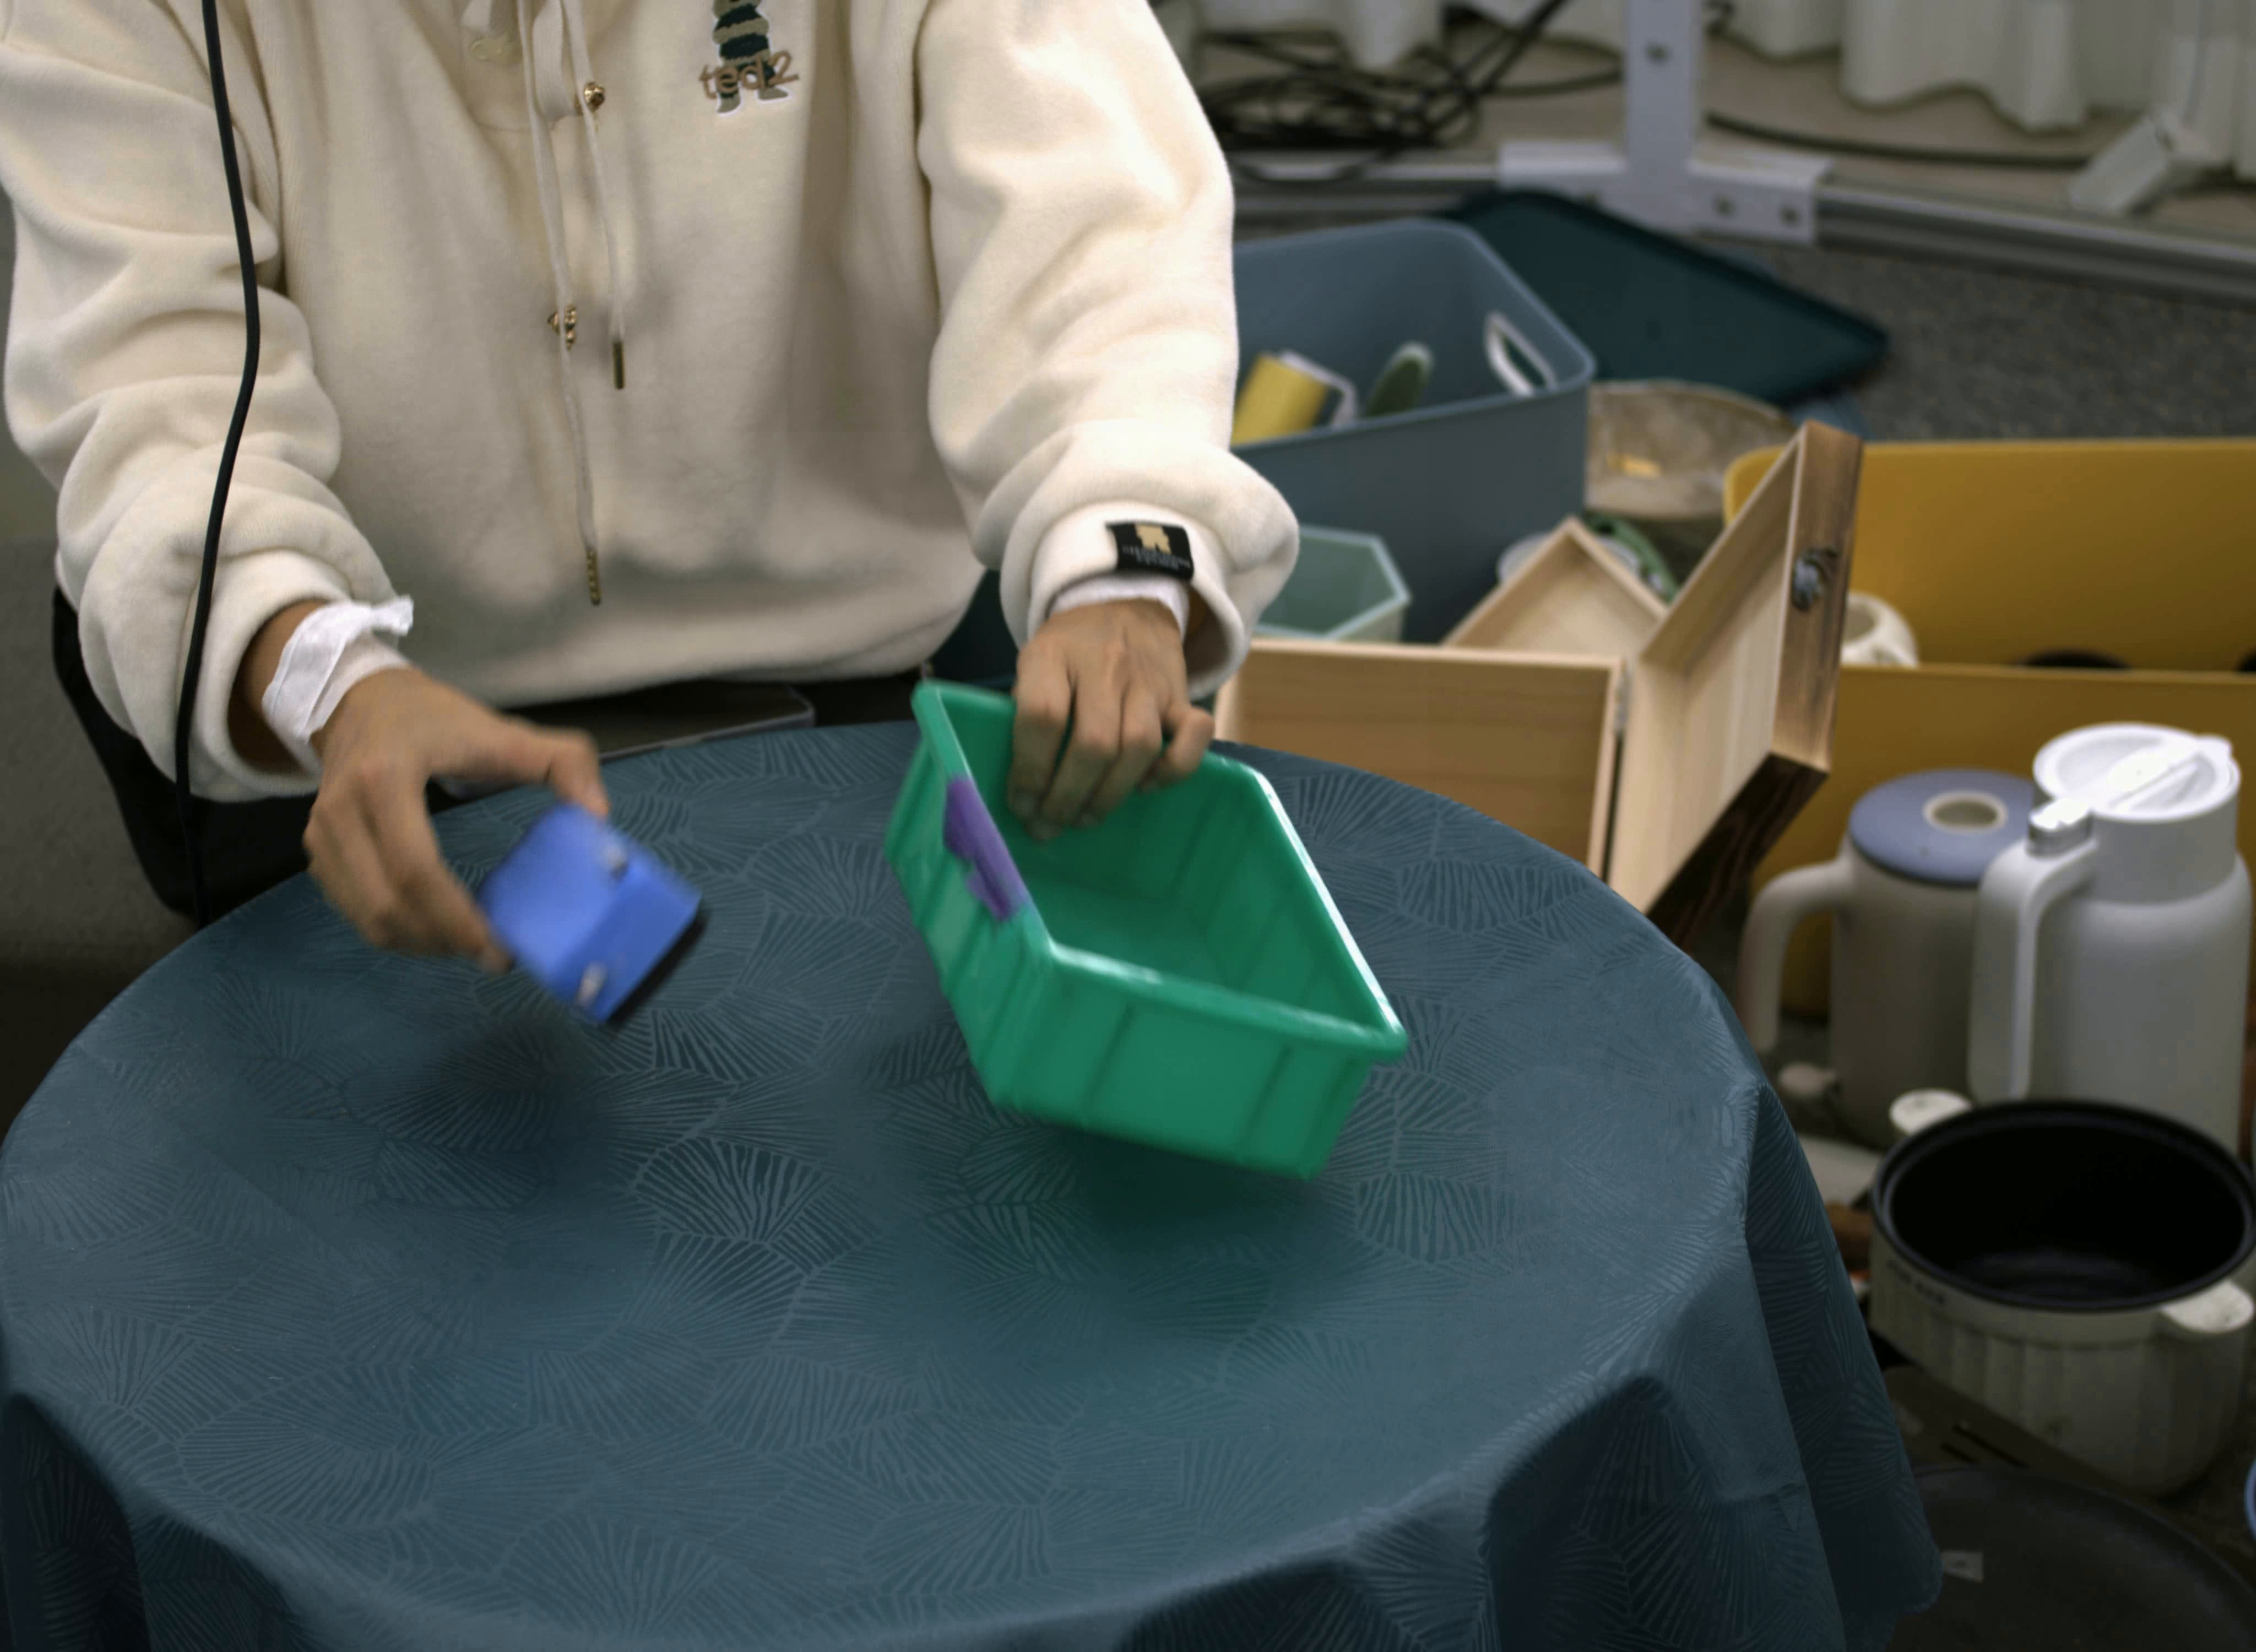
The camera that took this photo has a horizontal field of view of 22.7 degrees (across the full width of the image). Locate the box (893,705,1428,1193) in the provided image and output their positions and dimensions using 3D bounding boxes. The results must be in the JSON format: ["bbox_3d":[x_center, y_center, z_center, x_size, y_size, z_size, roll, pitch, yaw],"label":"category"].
[{"bbox_3d":[0.003,0.042,1.883,0.138,0.064,0.213,11,24,-22],"label":"box"}]

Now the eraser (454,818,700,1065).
[{"bbox_3d":[-0.191,0.034,1.891,0.054,0.047,0.162,-47,18,-4],"label":"eraser"}]
